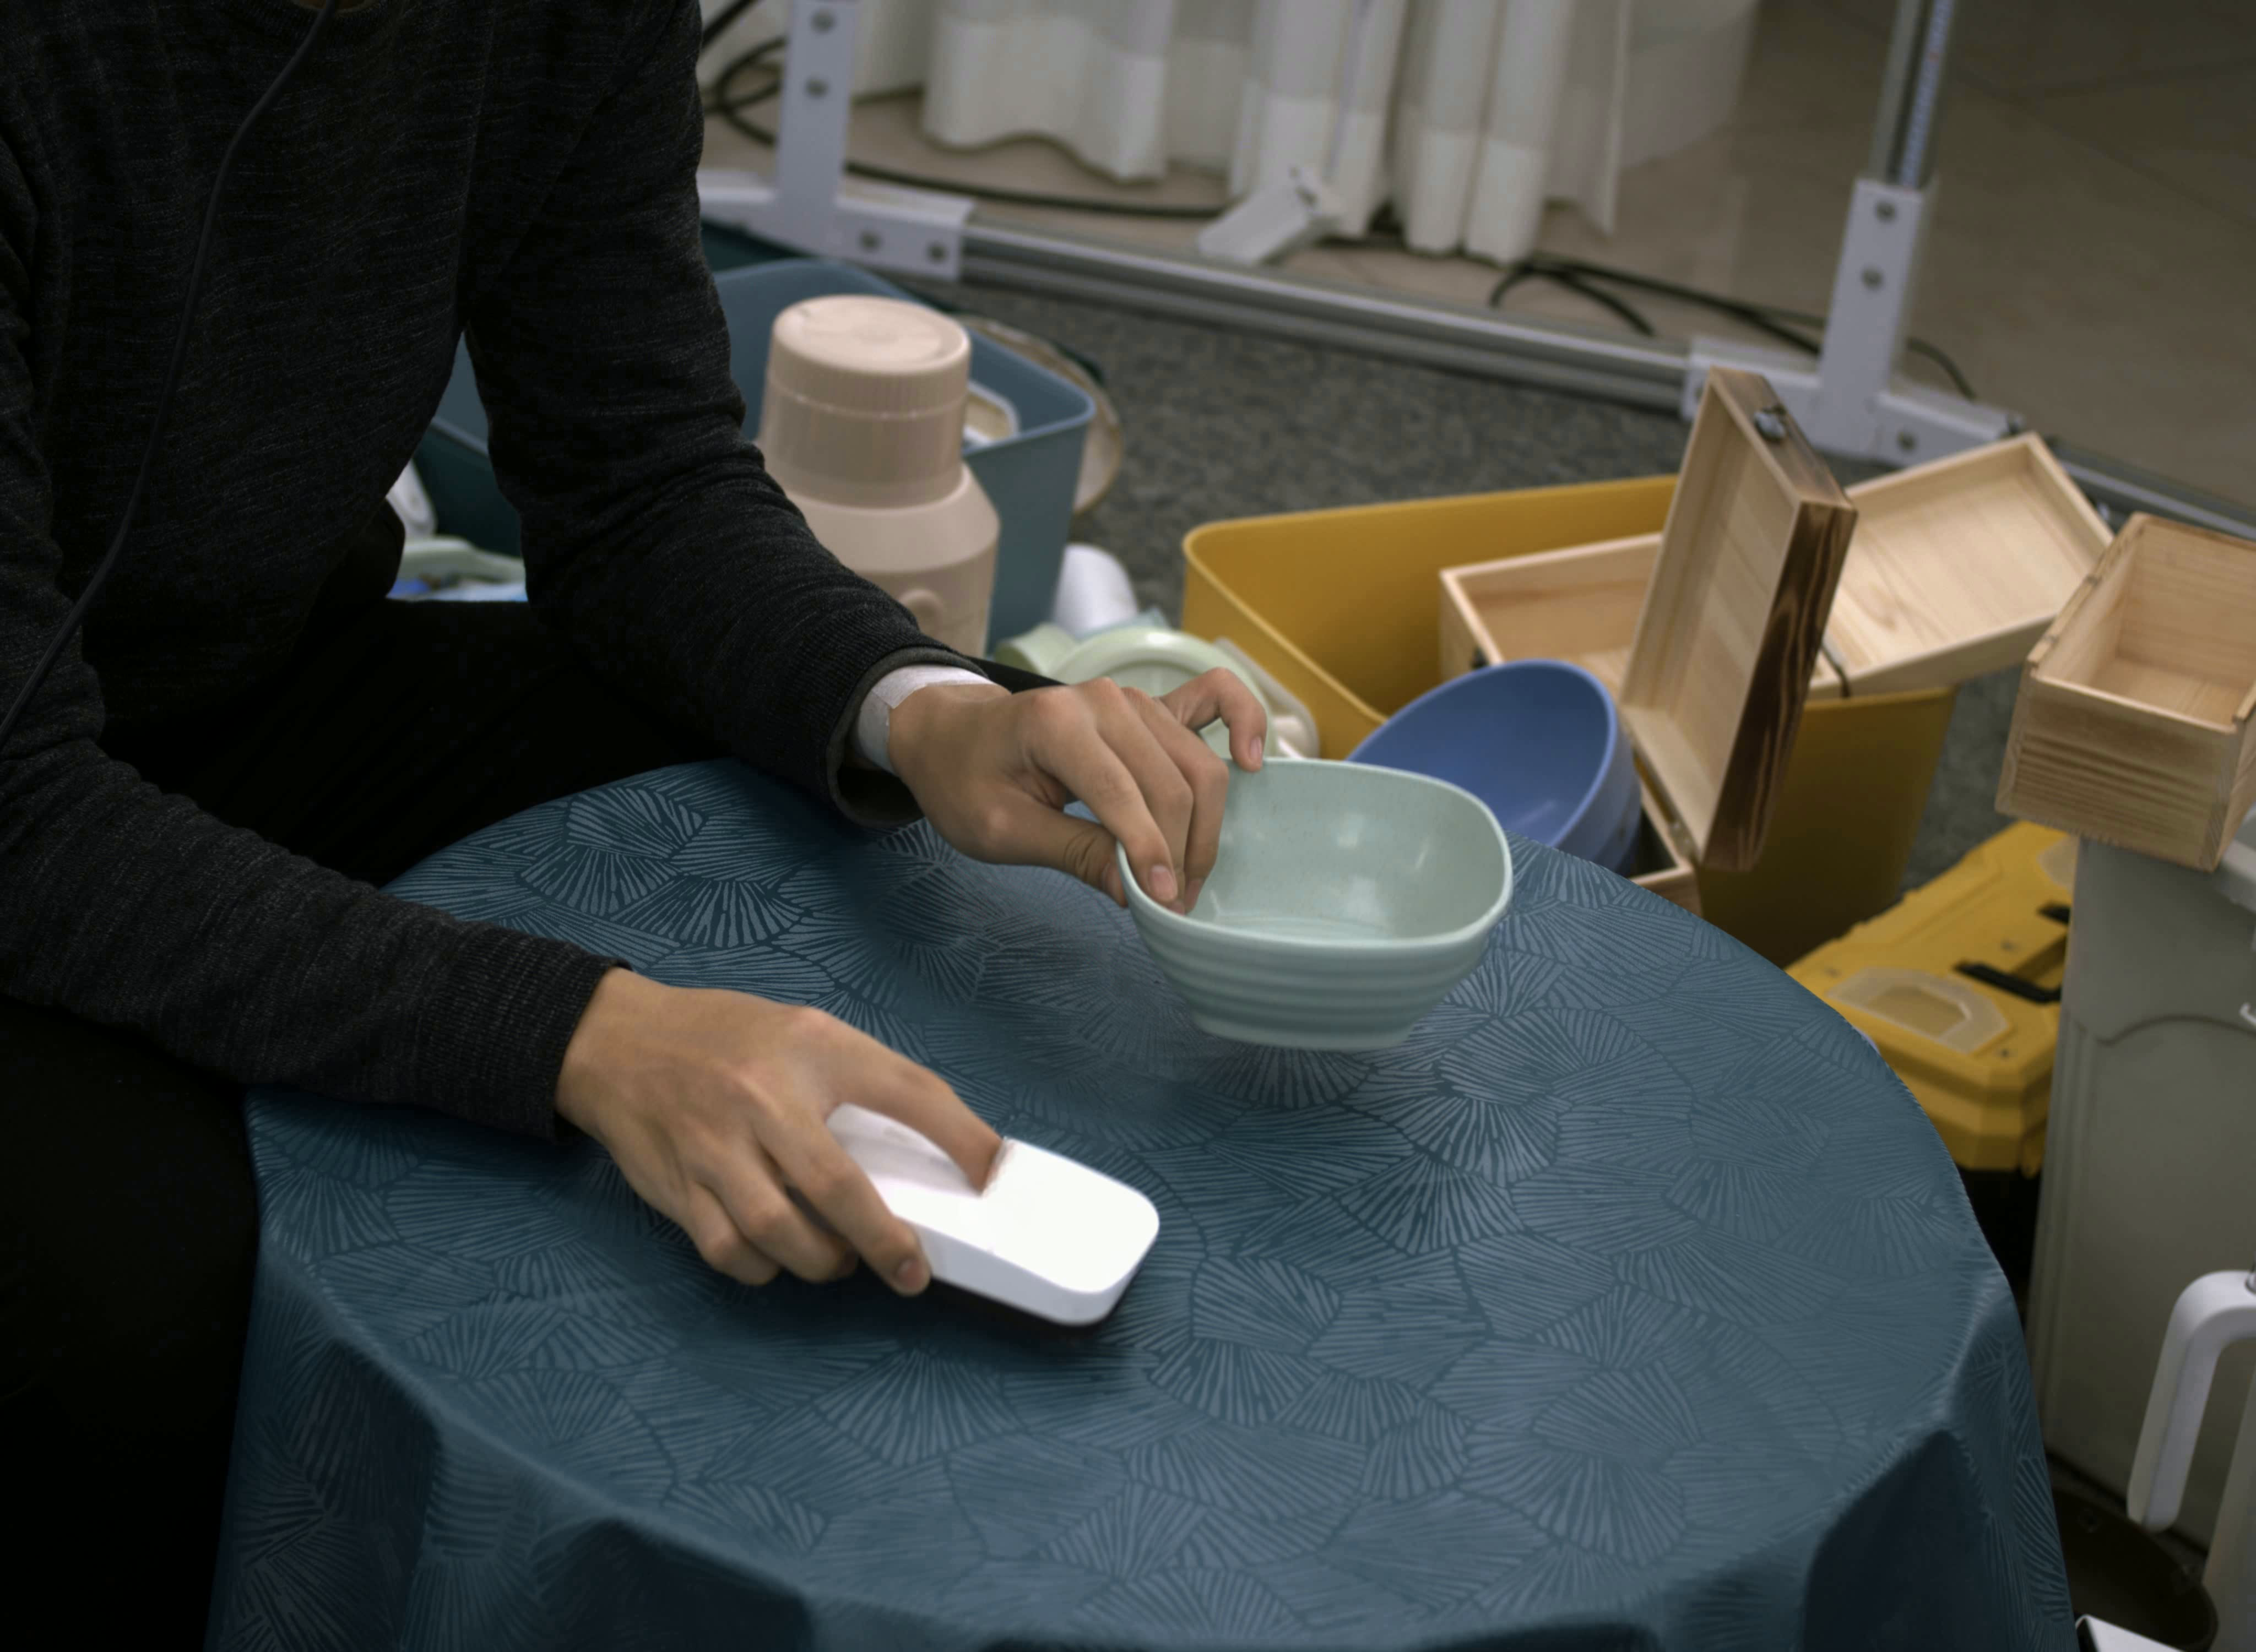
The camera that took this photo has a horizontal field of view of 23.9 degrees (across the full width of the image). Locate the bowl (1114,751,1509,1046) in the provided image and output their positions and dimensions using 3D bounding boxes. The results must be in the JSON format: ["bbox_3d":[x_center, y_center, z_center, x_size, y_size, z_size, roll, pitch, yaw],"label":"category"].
[{"bbox_3d":[0.062,0.031,1.871,0.151,0.058,0.152,4,27,-2],"label":"bowl"}]

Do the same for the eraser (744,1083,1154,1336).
[{"bbox_3d":[-0.058,0.121,1.724,0.131,0.034,0.063,20,32,18],"label":"eraser"}]
